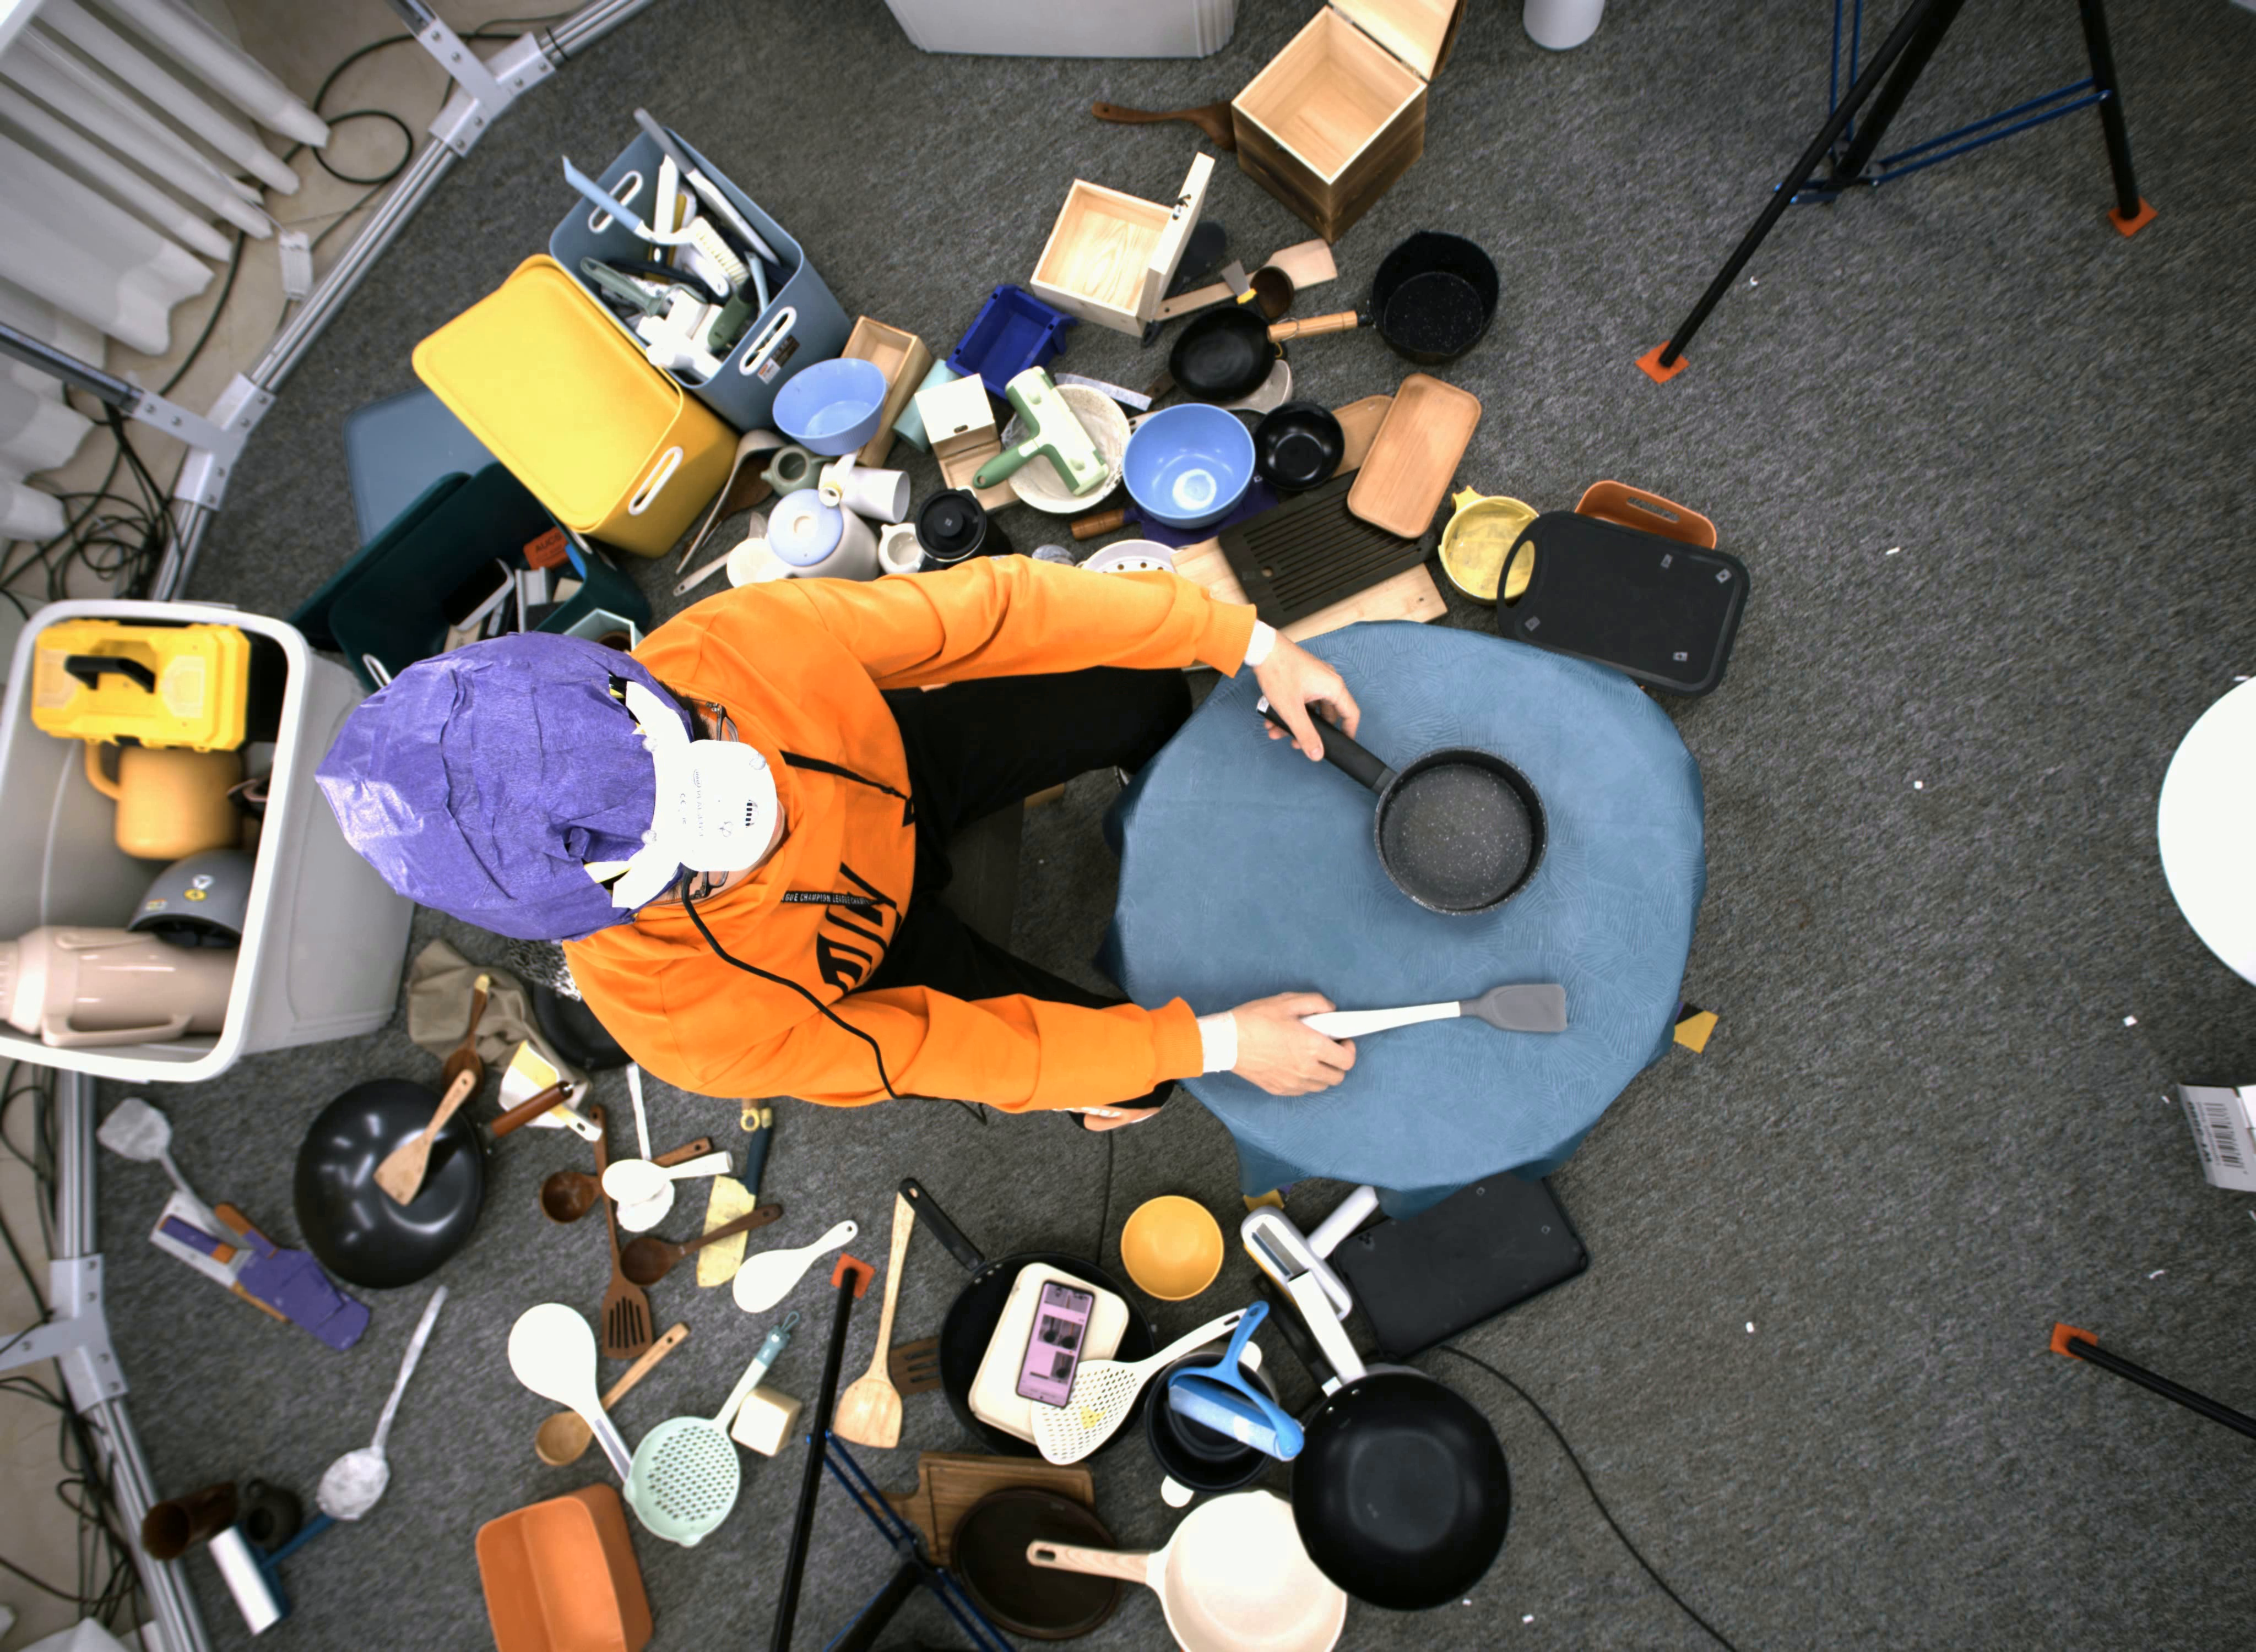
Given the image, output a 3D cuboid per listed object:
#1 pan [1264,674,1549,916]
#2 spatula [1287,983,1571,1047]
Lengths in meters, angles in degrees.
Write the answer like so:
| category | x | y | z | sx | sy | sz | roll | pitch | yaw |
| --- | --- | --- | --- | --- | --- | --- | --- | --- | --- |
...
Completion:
| category | x | y | z | sx | sy | sz | roll | pitch | yaw |
| --- | --- | --- | --- | --- | --- | --- | --- | --- | --- |
| pan | 0.277 | -0.042 | 1.422 | 0.328 | 0.086 | 0.172 | 38 | 92 | 9 |
| spatula | 0.310 | 0.197 | 1.429 | 0.289 | 0.032 | 0.059 | -7 | 103 | 10 |
